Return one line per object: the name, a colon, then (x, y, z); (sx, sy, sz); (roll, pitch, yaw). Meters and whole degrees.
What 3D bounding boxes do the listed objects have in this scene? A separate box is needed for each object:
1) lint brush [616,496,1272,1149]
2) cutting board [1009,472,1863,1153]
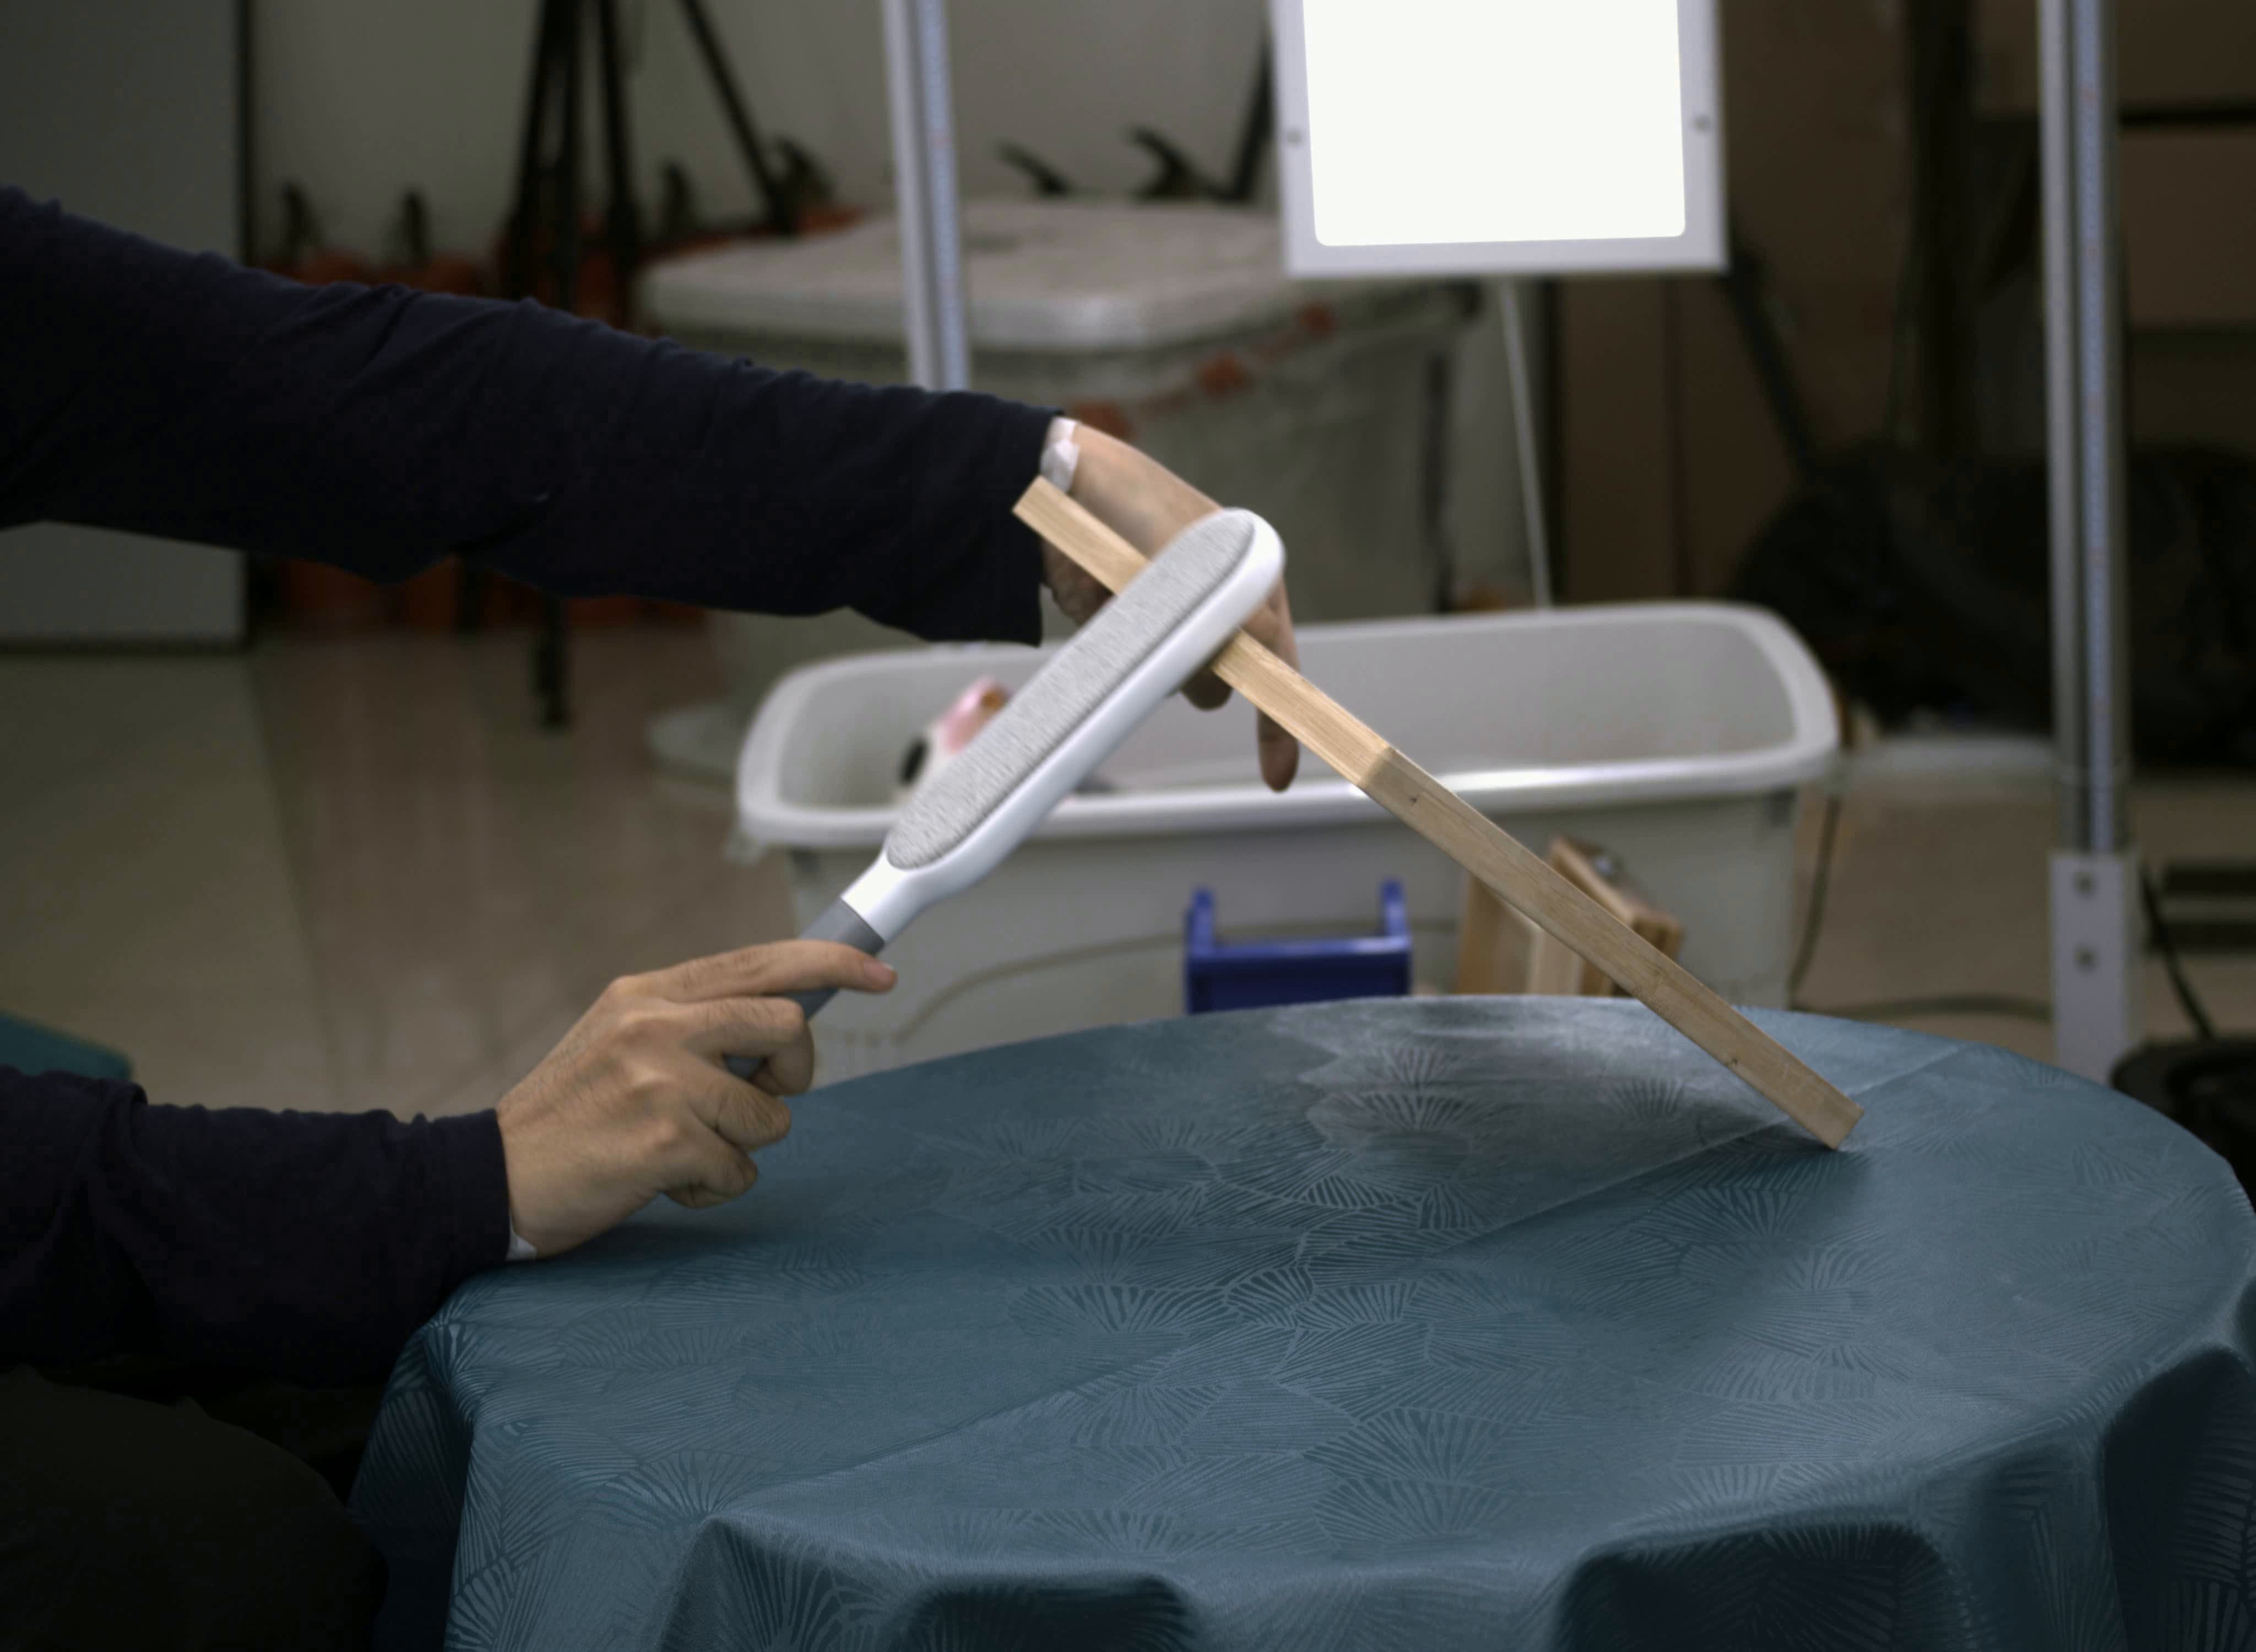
lint brush: (-0.064, -0.002, 1.906); (0.308, 0.020, 0.061); (-45, 32, -3)
cutting board: (0.103, -0.011, 1.980); (0.247, 0.023, 0.352); (37, 2, -28)
